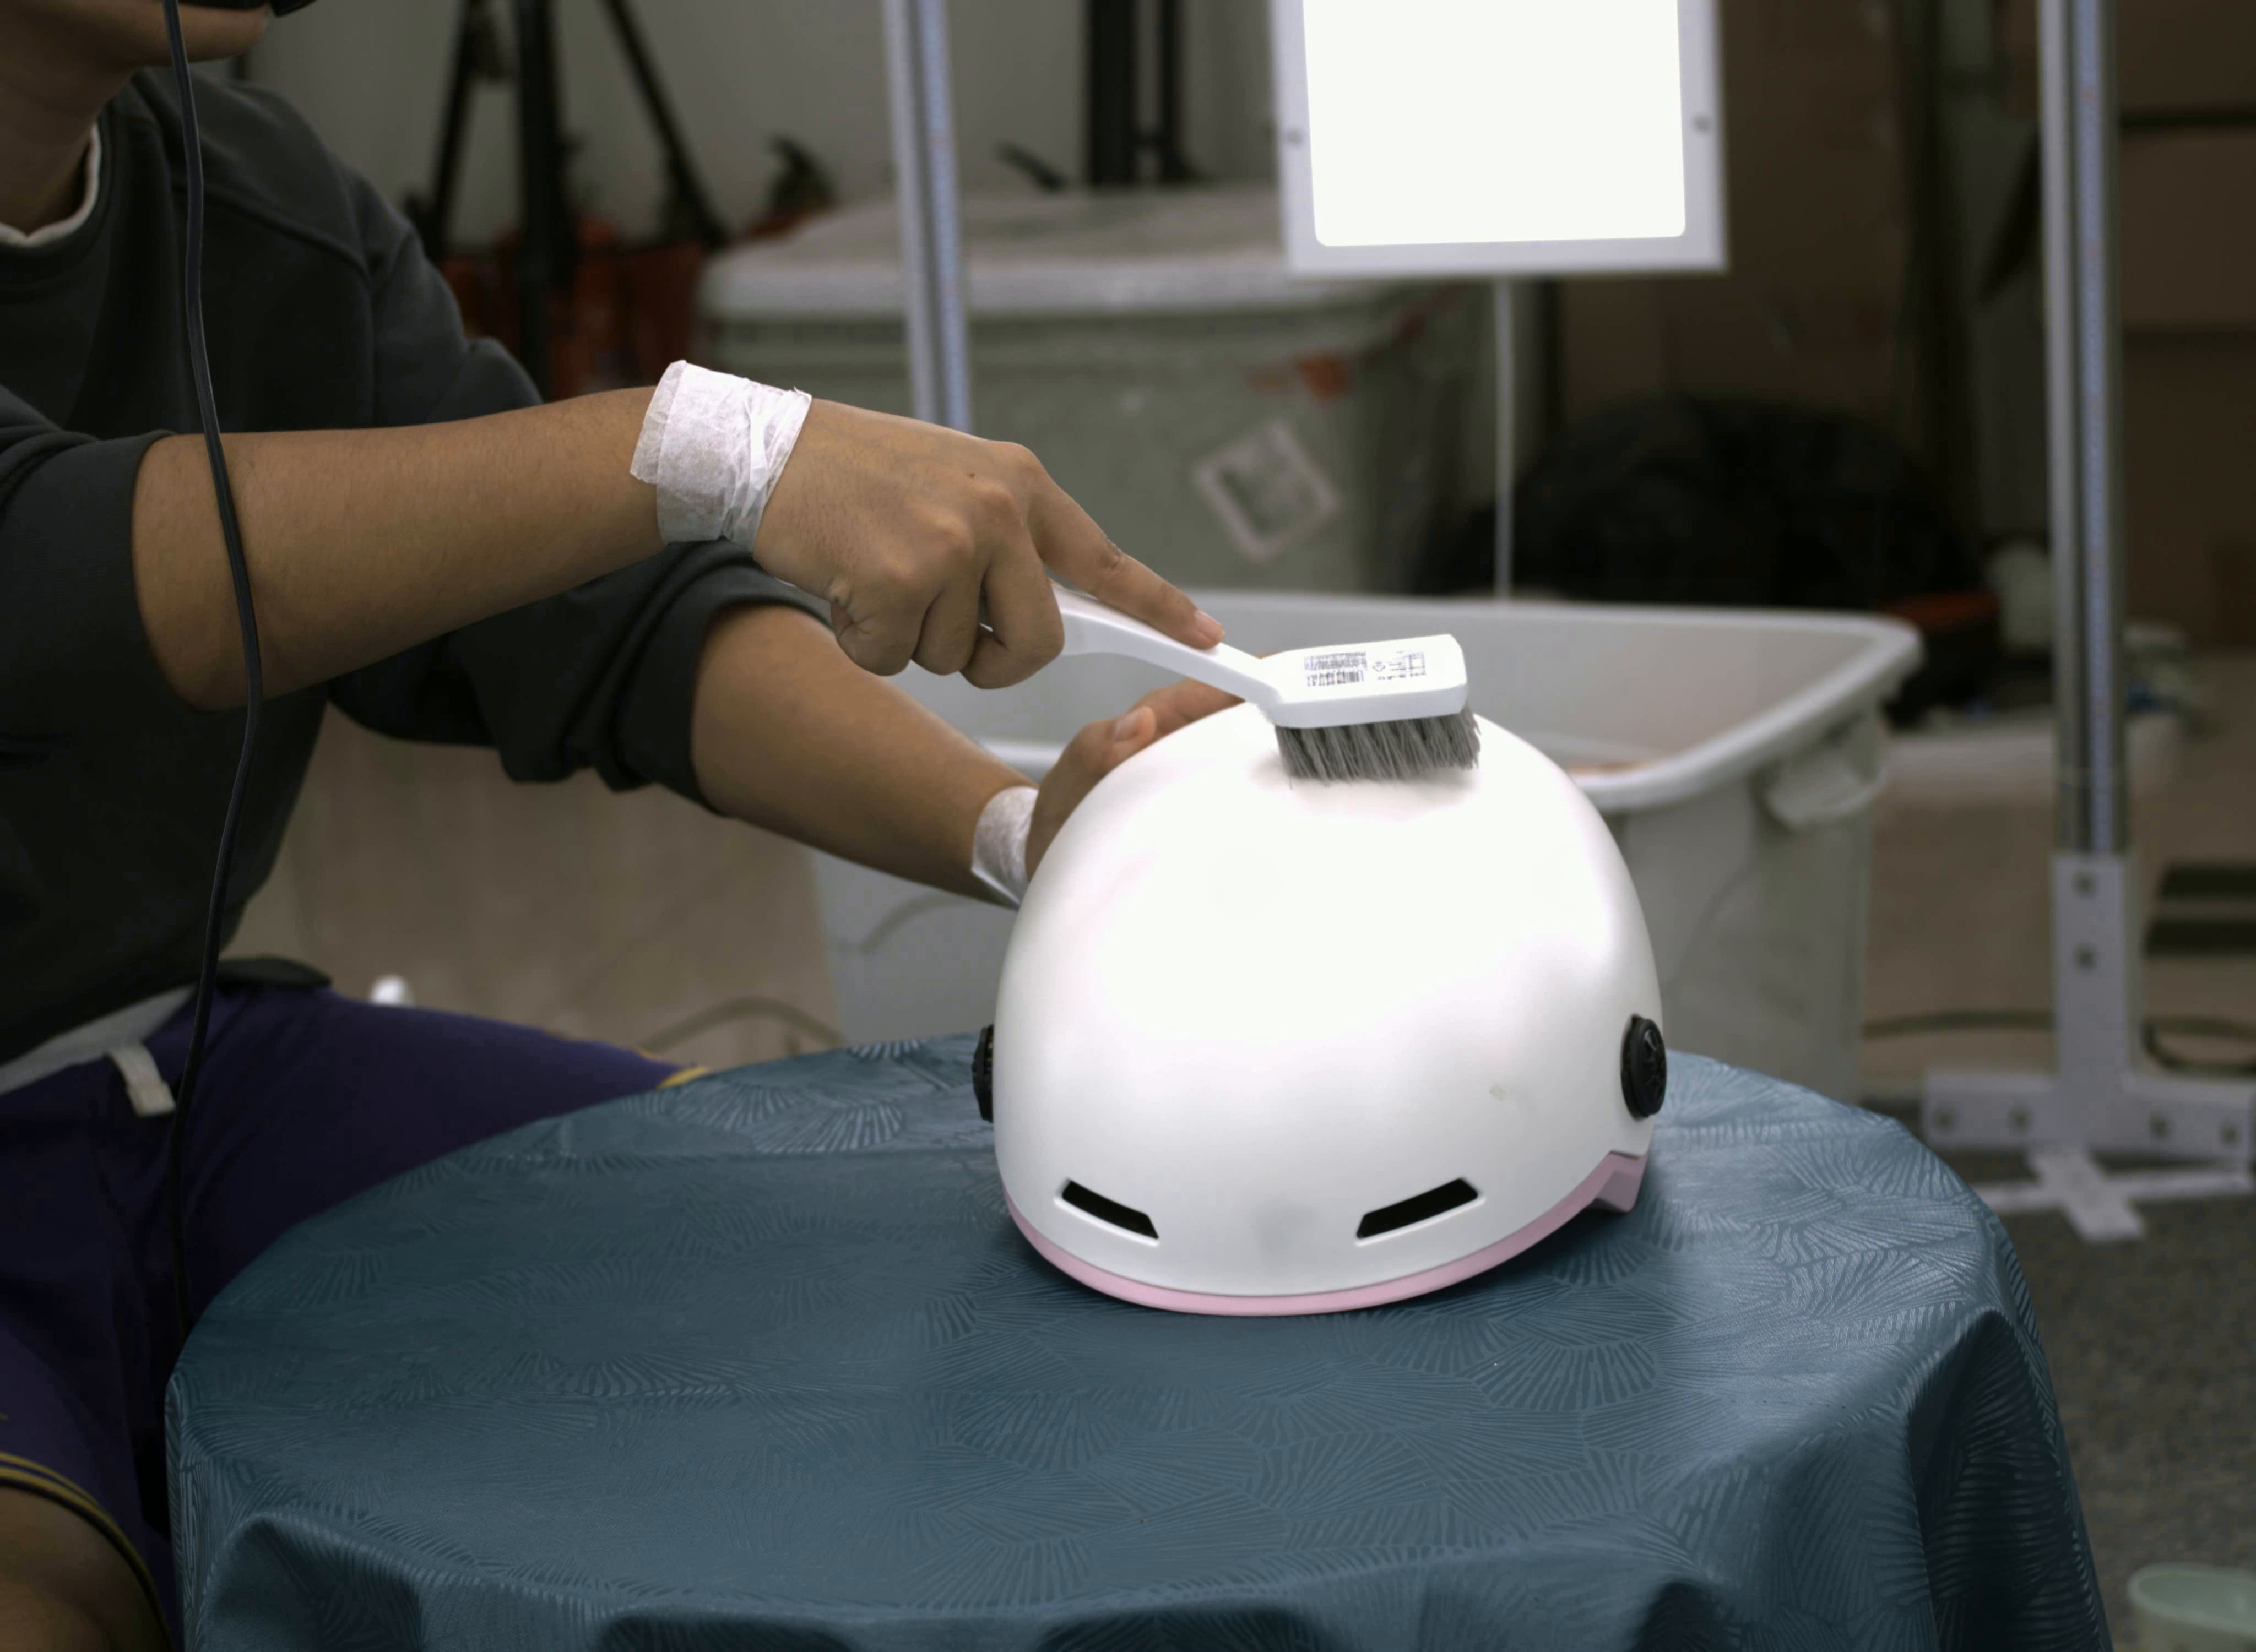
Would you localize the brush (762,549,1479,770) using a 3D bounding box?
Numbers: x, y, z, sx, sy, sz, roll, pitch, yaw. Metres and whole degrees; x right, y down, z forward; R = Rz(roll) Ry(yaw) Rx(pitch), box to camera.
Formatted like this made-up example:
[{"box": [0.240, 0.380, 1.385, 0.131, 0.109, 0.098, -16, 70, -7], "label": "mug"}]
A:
[{"box": [-0.002, -0.053, 1.798, 0.241, 0.051, 0.034, 7, 33, -6], "label": "brush"}]

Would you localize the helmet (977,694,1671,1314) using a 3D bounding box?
[{"box": [0.067, 0.045, 1.860, 0.239, 0.167, 0.265, -1, 15, 16], "label": "helmet"}]
